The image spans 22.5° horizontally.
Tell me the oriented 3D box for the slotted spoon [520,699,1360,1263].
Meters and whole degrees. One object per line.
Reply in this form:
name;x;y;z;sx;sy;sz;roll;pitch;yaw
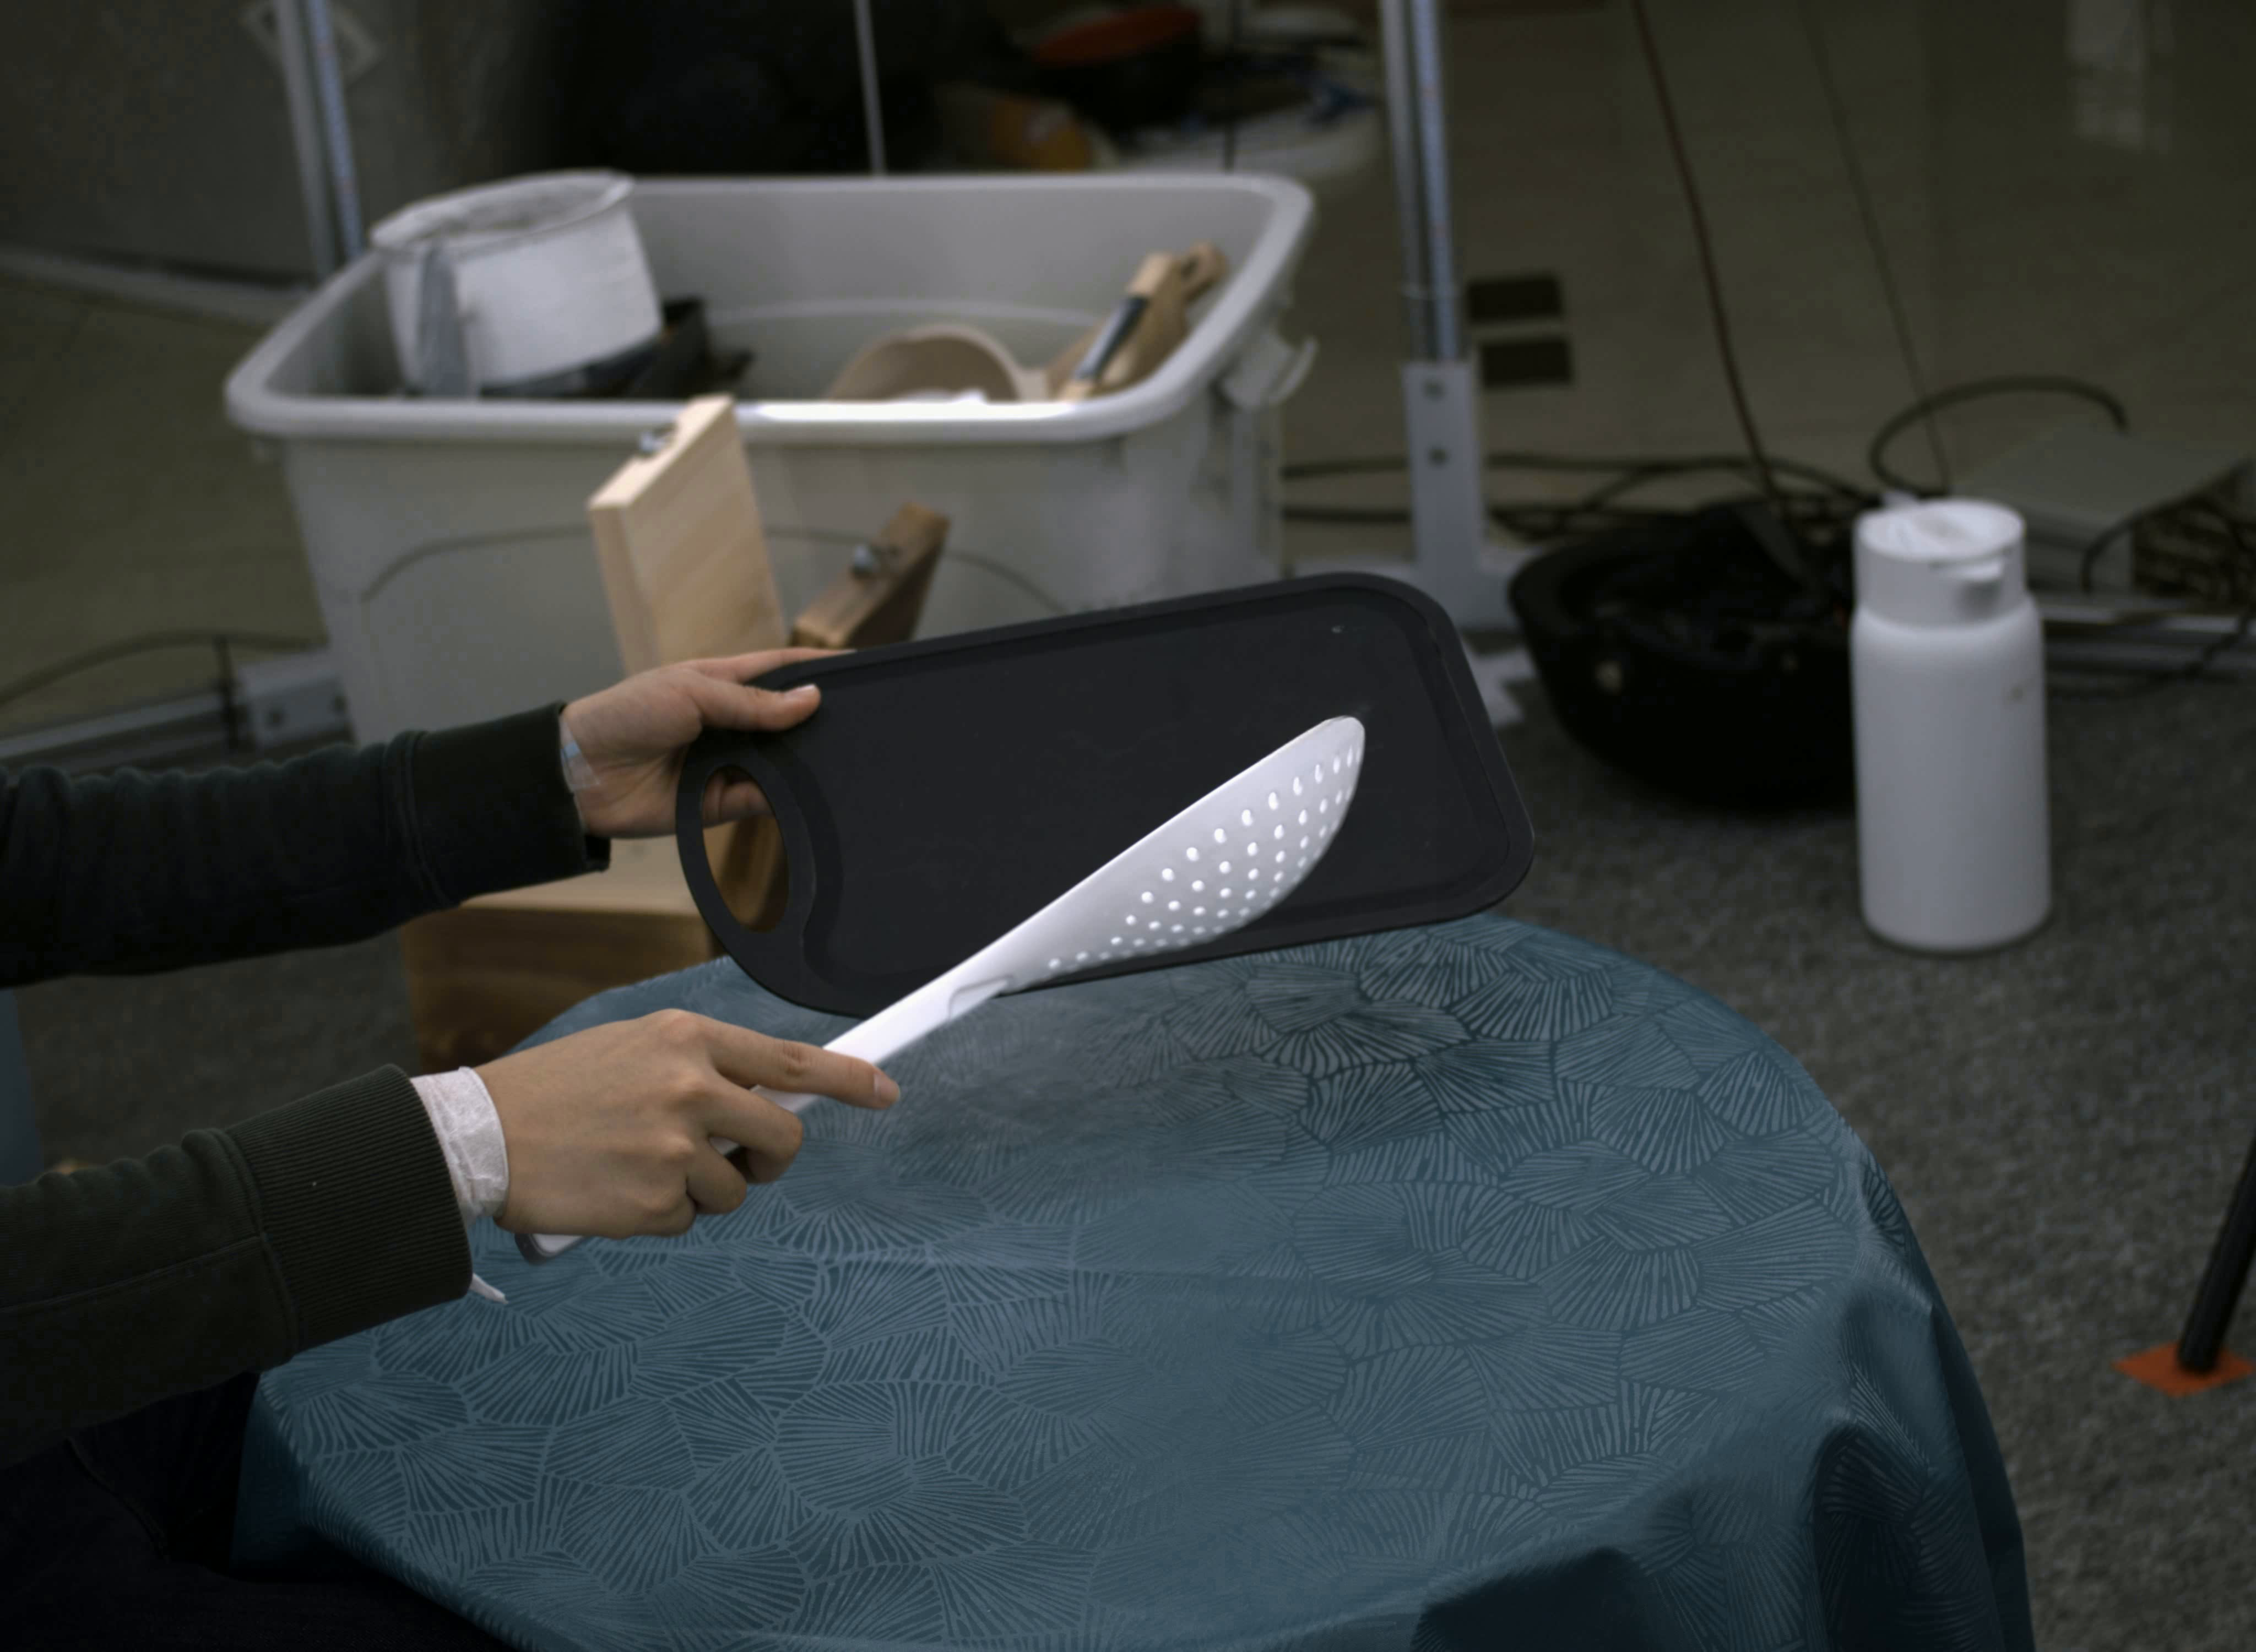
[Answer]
slotted spoon;-0.058;0.051;1.914;0.347;0.046;0.137;-27;-3;-23

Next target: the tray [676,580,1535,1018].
tray;-0.014;-0.013;2.209;0.325;0.010;0.207;-9;44;-7
